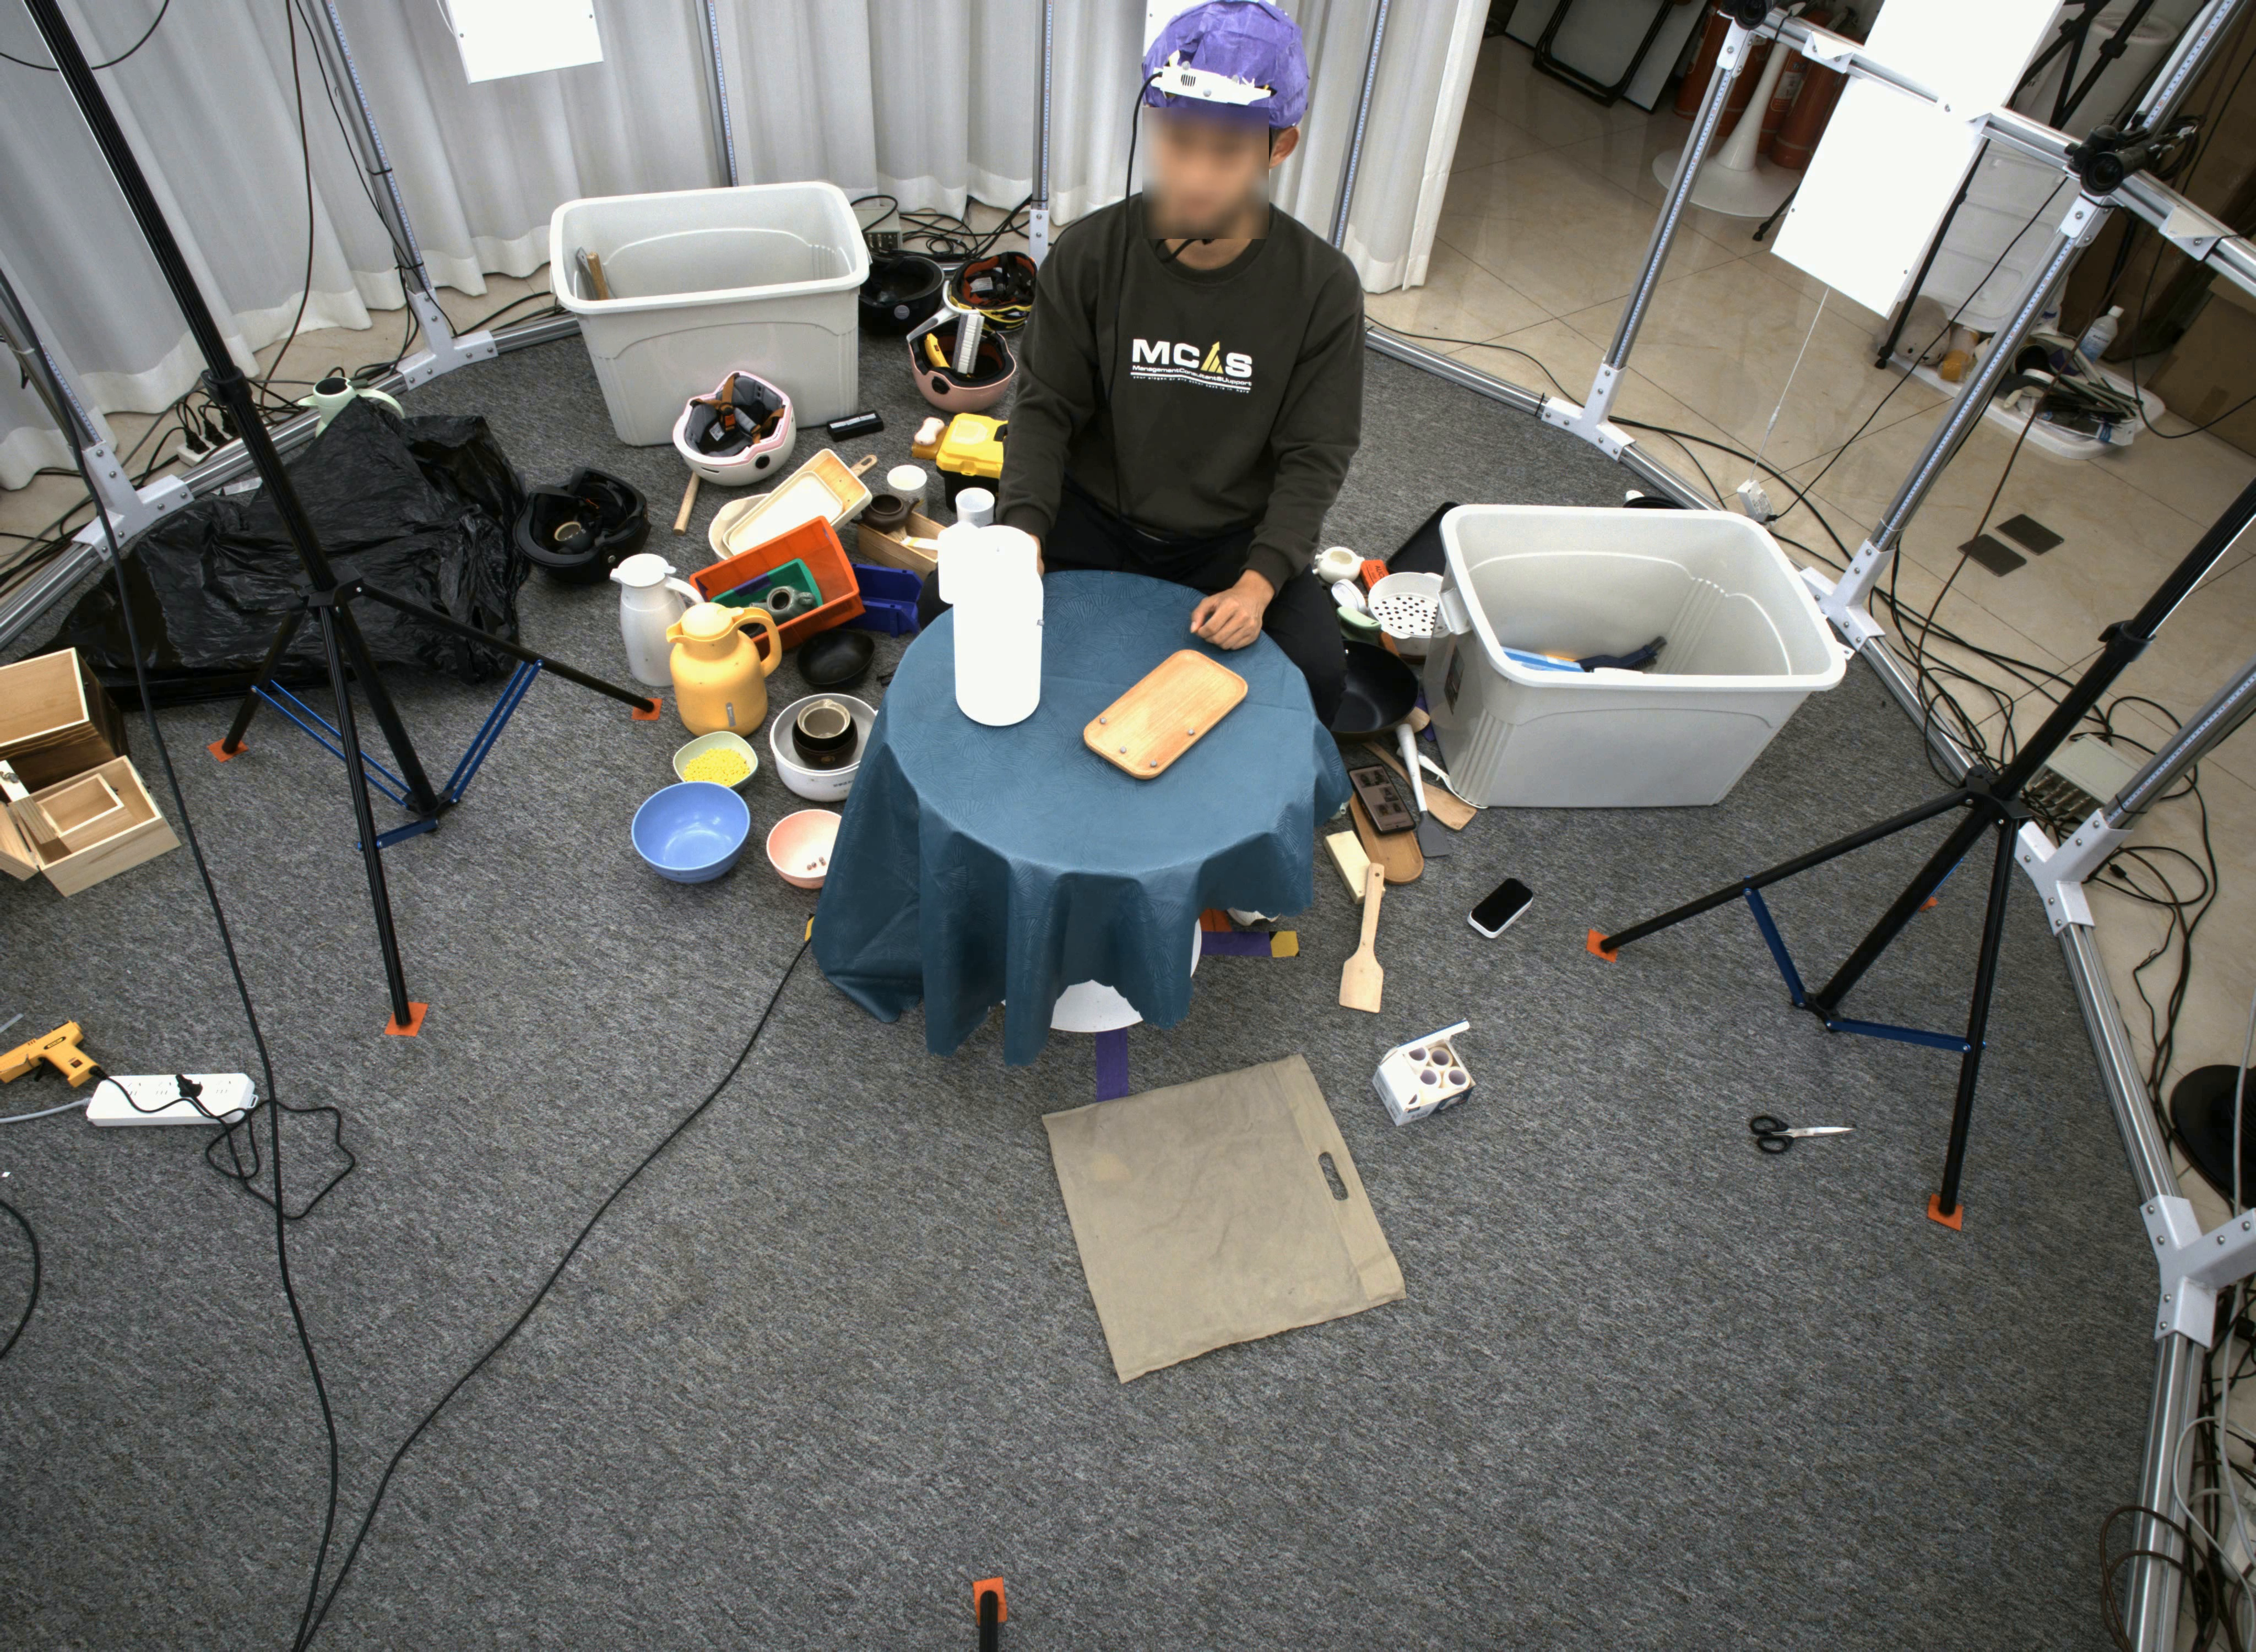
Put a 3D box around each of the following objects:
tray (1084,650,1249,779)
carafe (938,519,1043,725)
[{"bbox_3d":[0.056,-0.159,1.797,0.132,0.022,0.253,35,54,21],"label":"tray"},{"bbox_3d":[-0.187,-0.274,1.716,0.125,0.262,0.175,-36,61,-29],"label":"carafe"}]
